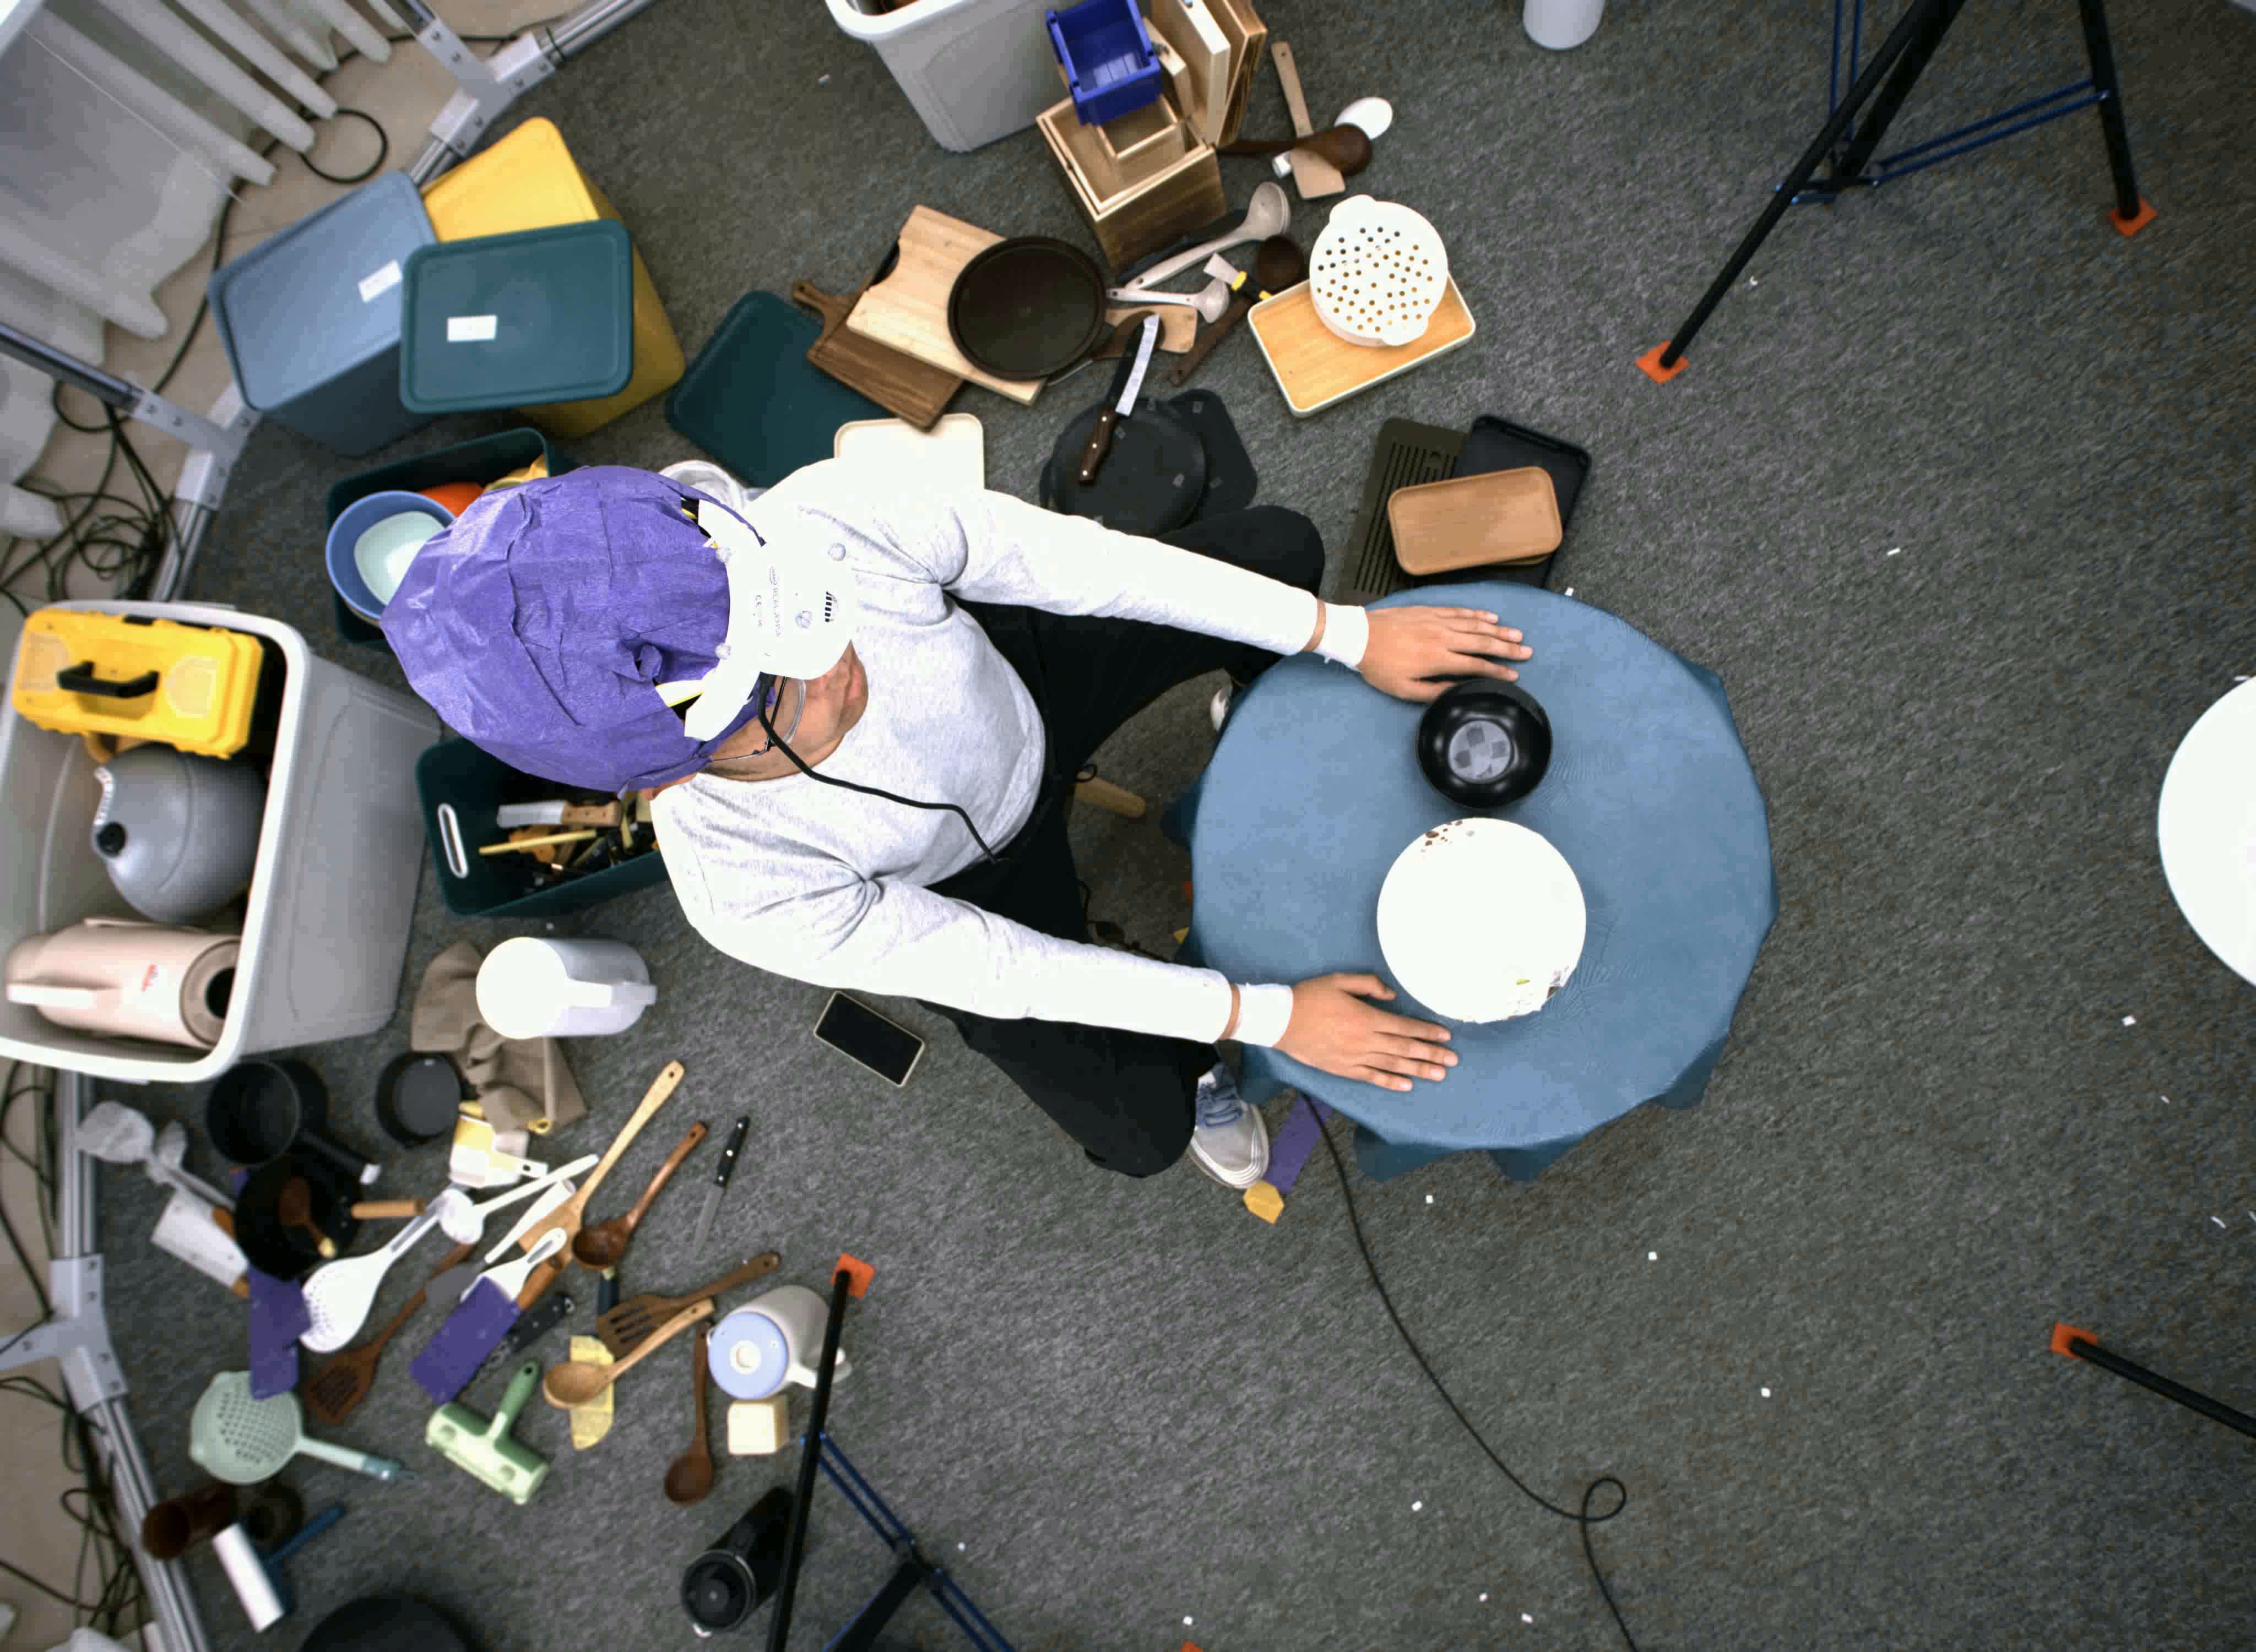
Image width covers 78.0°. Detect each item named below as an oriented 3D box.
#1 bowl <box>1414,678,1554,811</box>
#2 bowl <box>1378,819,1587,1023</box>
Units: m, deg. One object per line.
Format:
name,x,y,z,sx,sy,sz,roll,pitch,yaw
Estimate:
bowl,0.369,-0.083,1.427,0.141,0.050,0.139,-2,84,14
bowl,0.358,0.096,1.402,0.205,0.078,0.203,-1,85,11
